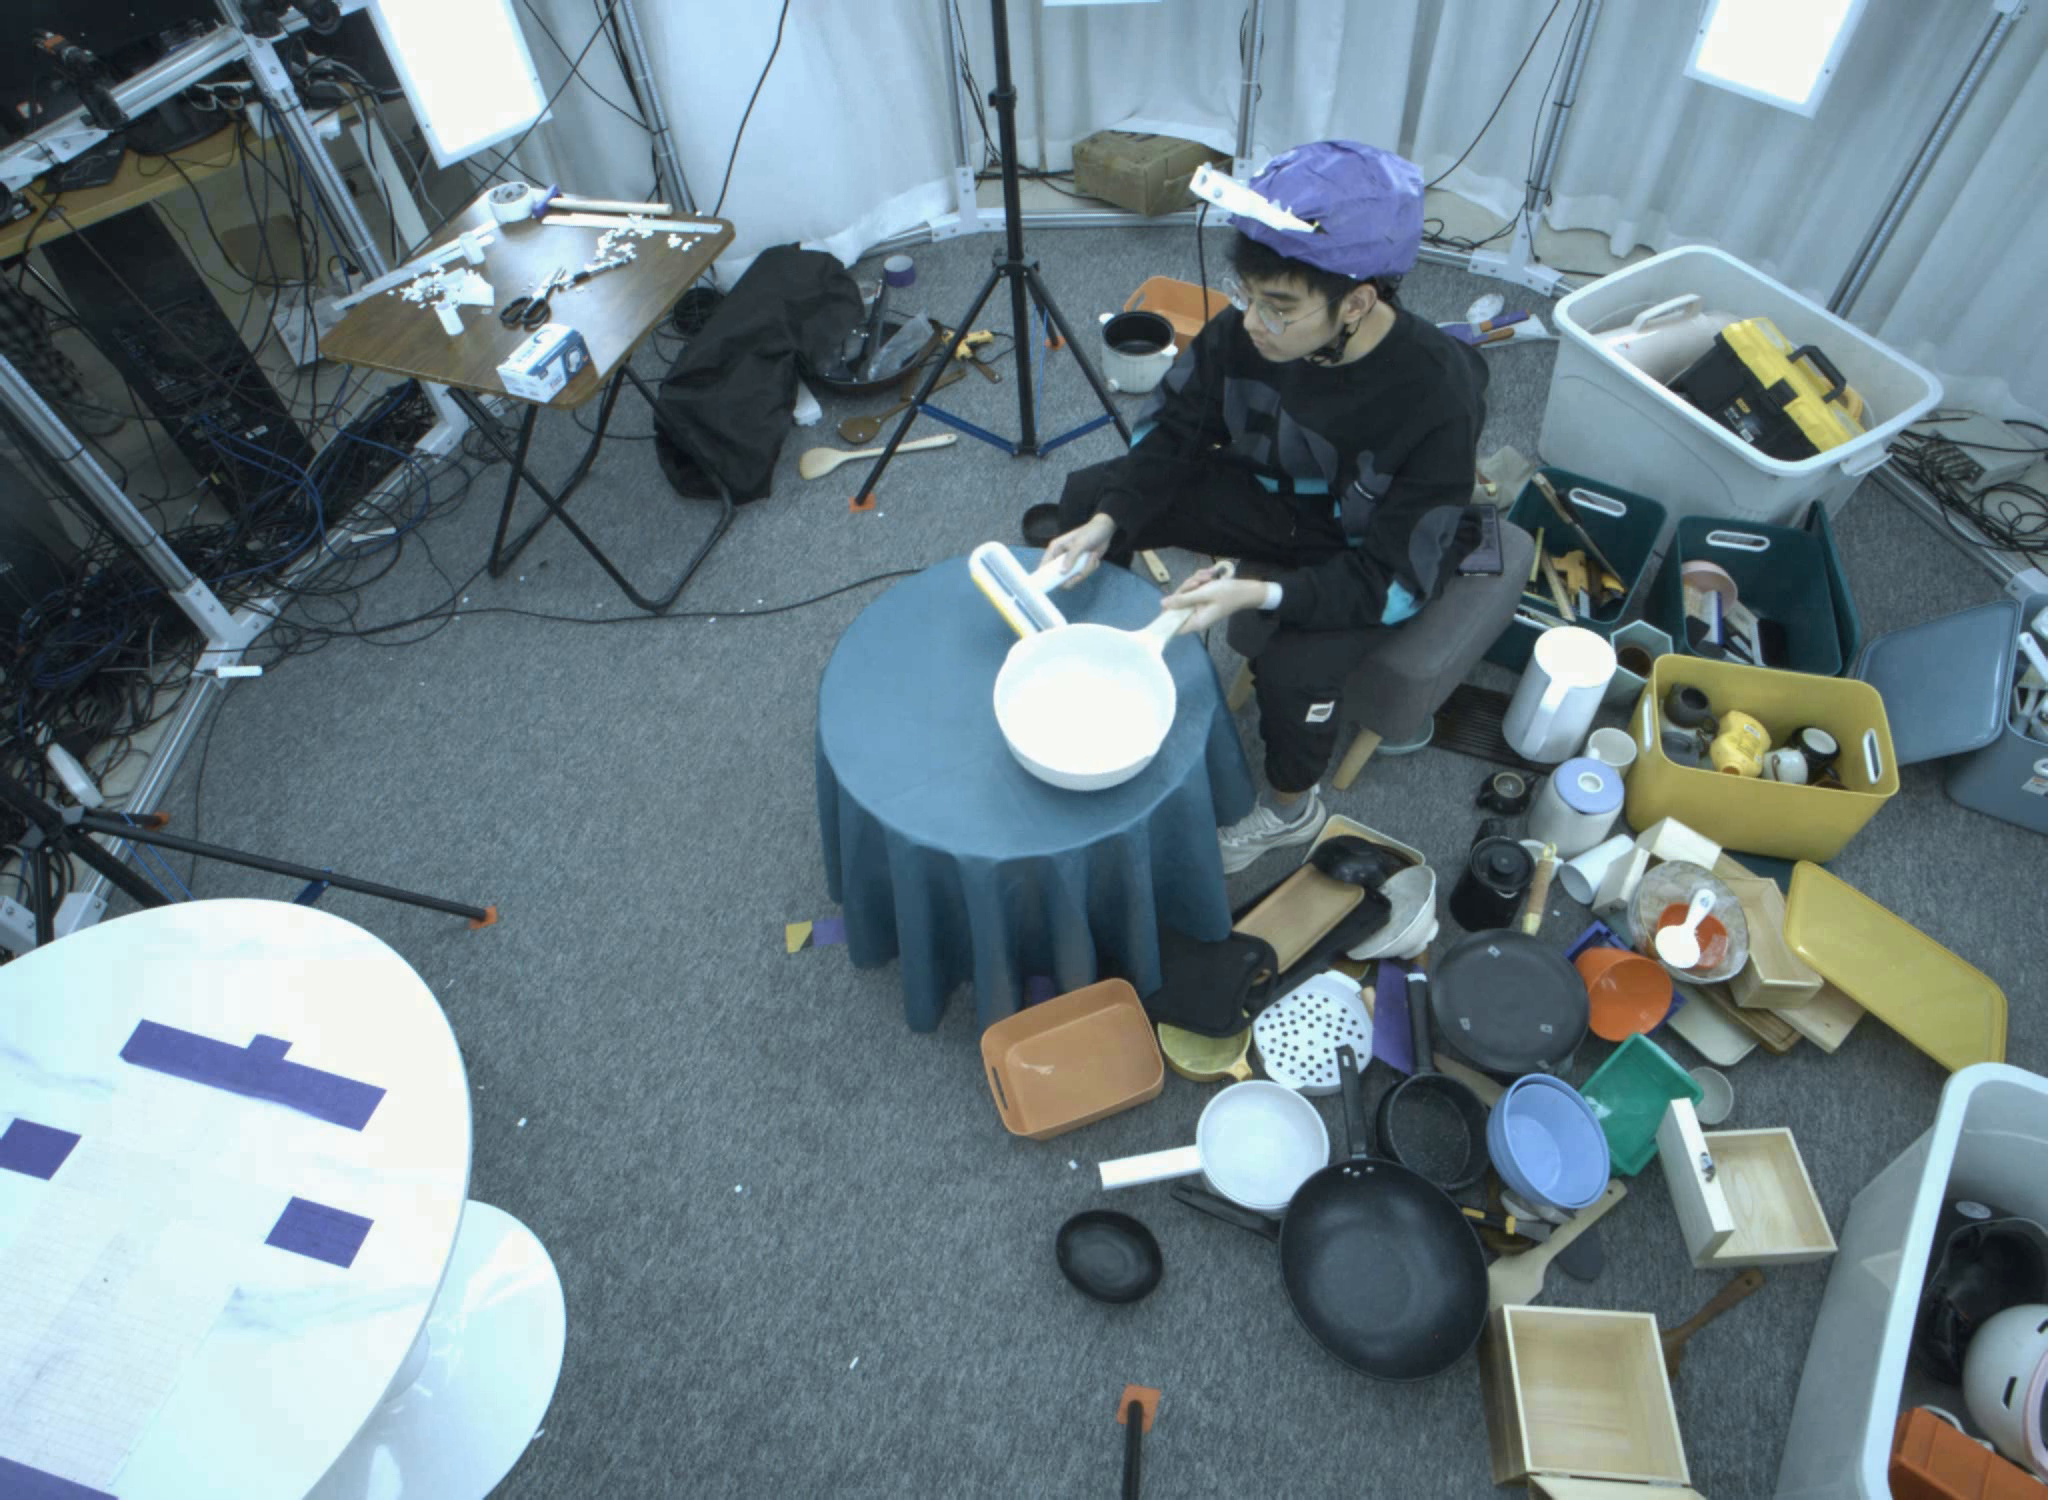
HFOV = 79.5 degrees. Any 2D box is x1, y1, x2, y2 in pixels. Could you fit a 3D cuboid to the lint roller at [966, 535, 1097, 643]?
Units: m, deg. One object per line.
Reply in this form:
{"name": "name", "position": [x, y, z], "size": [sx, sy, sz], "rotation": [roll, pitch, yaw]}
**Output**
{"name": "lint roller", "position": [0.033, -0.265, 1.874], "size": [0.194, 0.074, 0.191], "rotation": [-34, 81, -18]}

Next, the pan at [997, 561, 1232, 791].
{"name": "pan", "position": [0.152, -0.113, 1.760], "size": [0.259, 0.103, 0.437], "rotation": [39, 66, 22]}
